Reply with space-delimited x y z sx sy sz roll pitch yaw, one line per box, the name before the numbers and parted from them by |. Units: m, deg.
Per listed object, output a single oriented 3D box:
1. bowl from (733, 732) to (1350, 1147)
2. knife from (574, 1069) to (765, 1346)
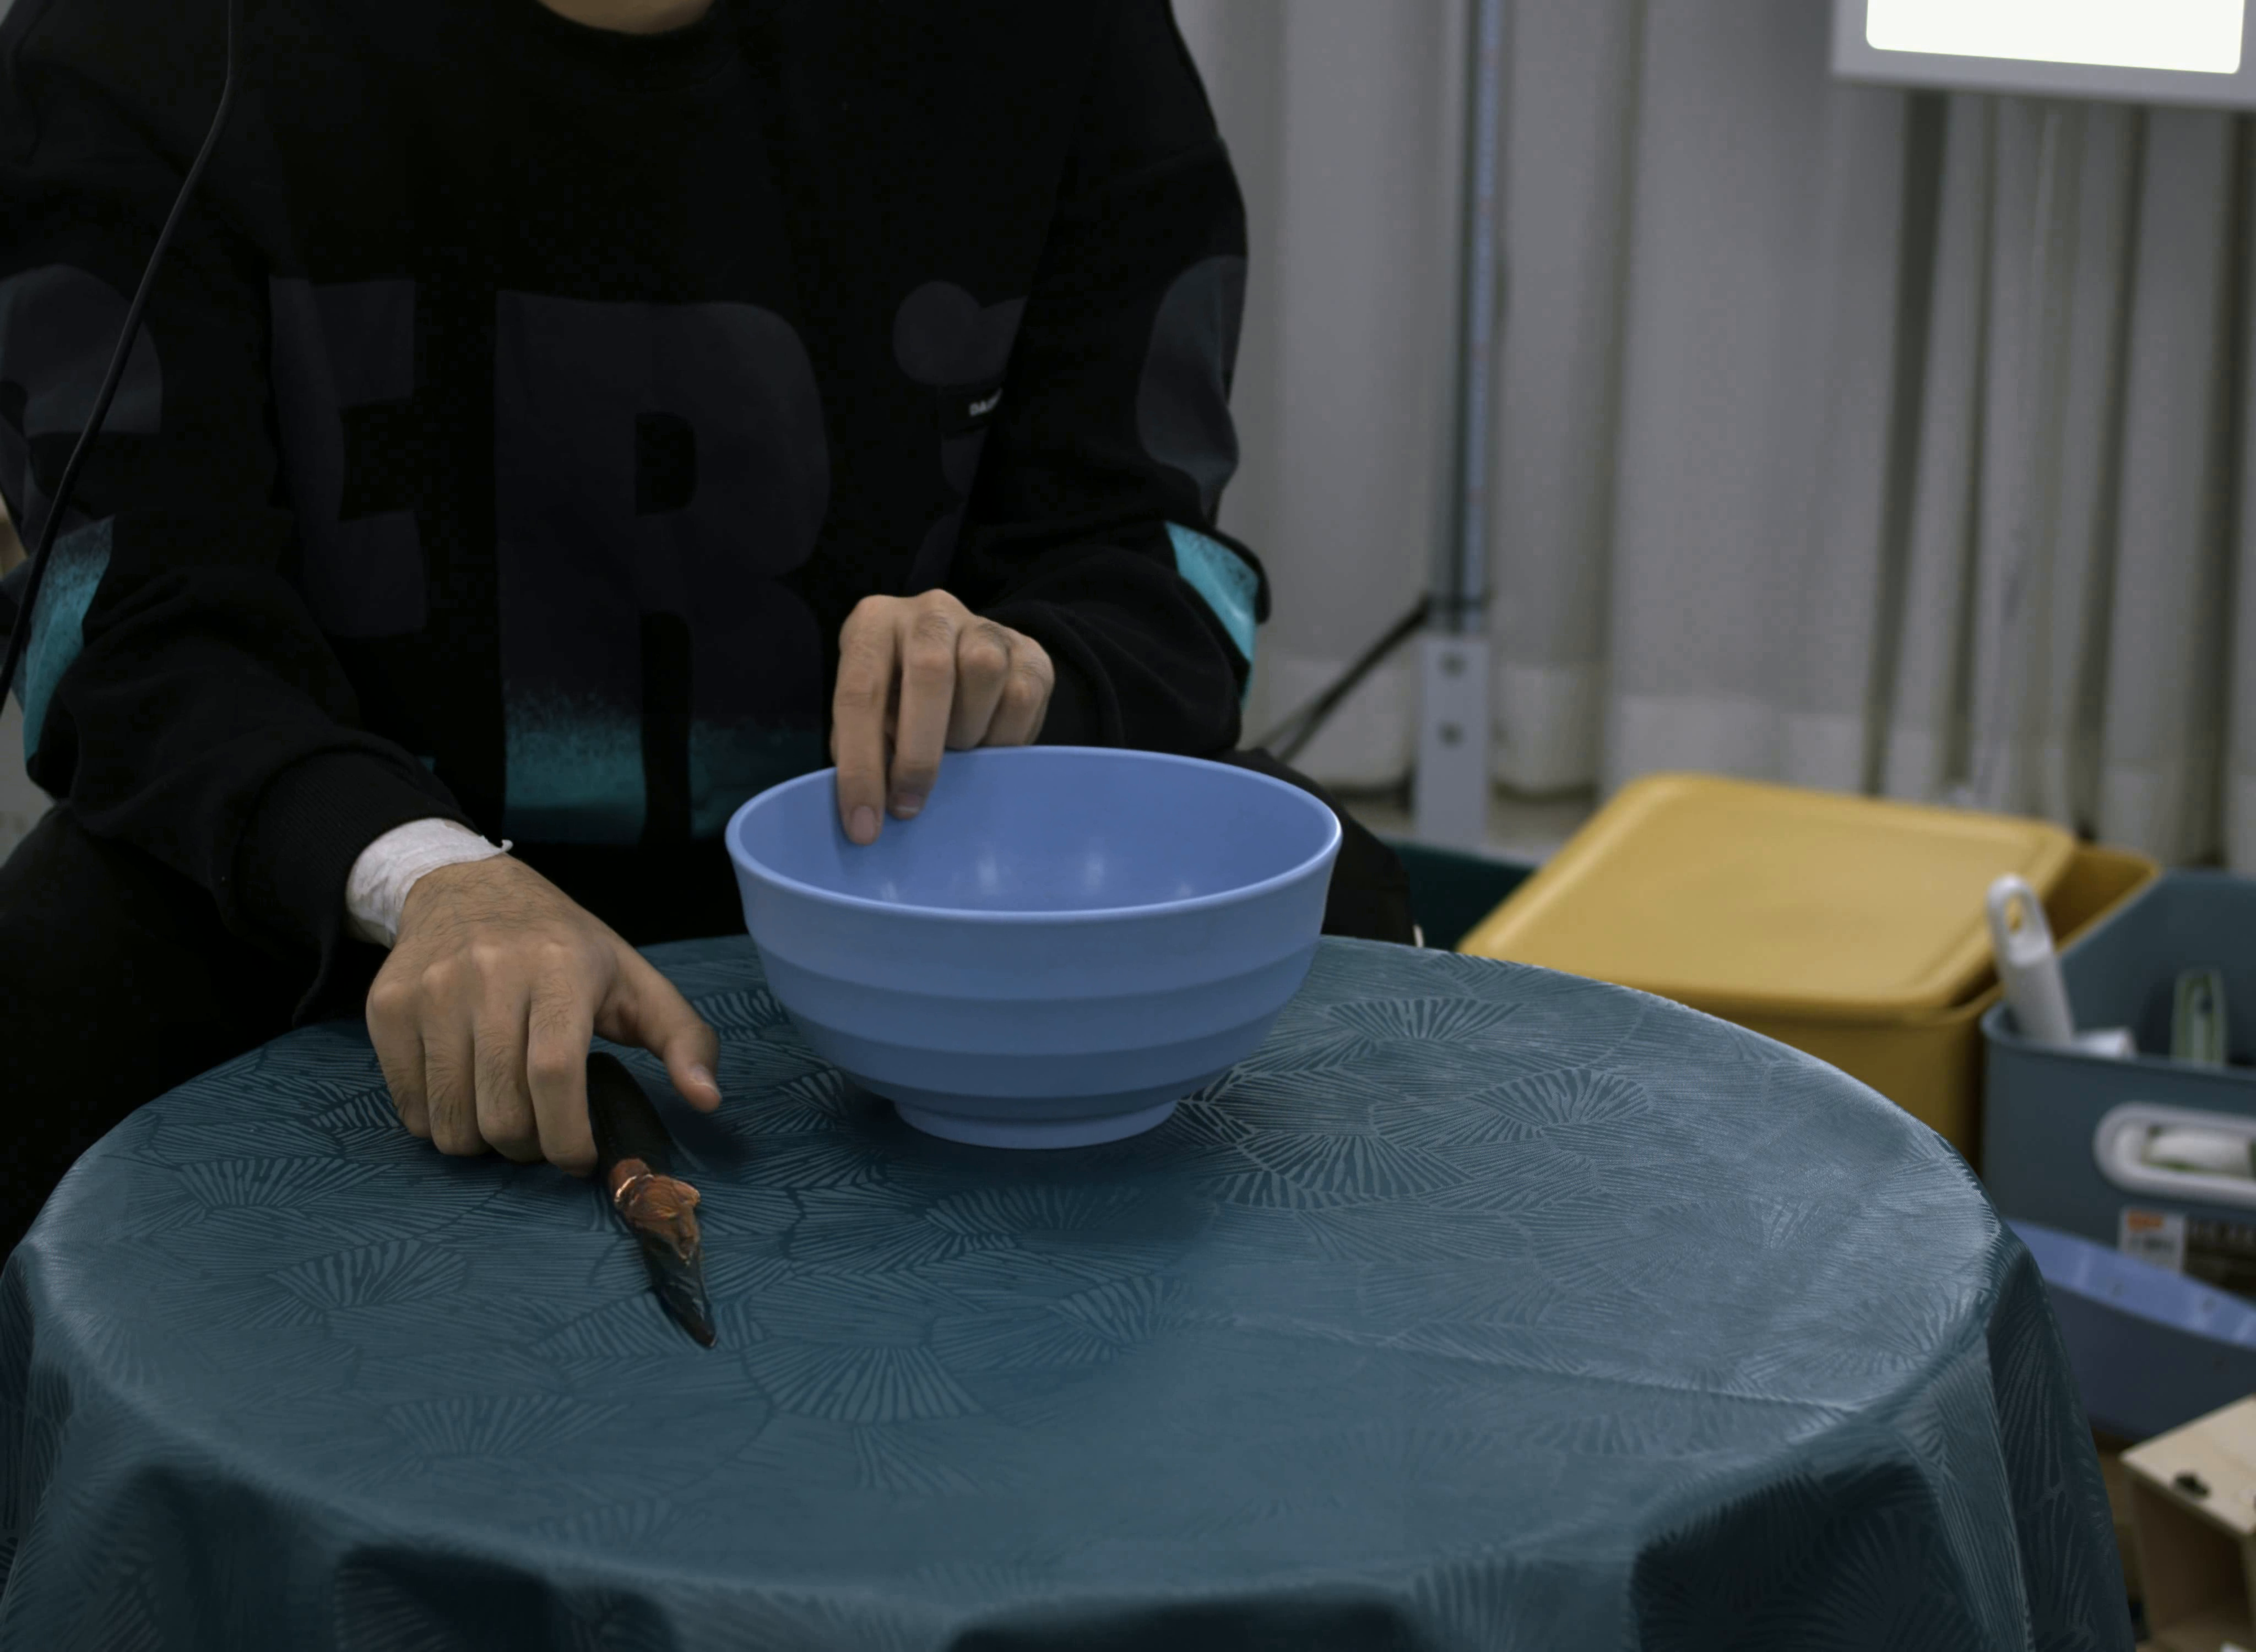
bowl | -0.028 0.042 1.685 0.196 0.096 0.195 2 18 0
knife | -0.141 0.114 1.591 0.026 0.017 0.223 2 16 -17
